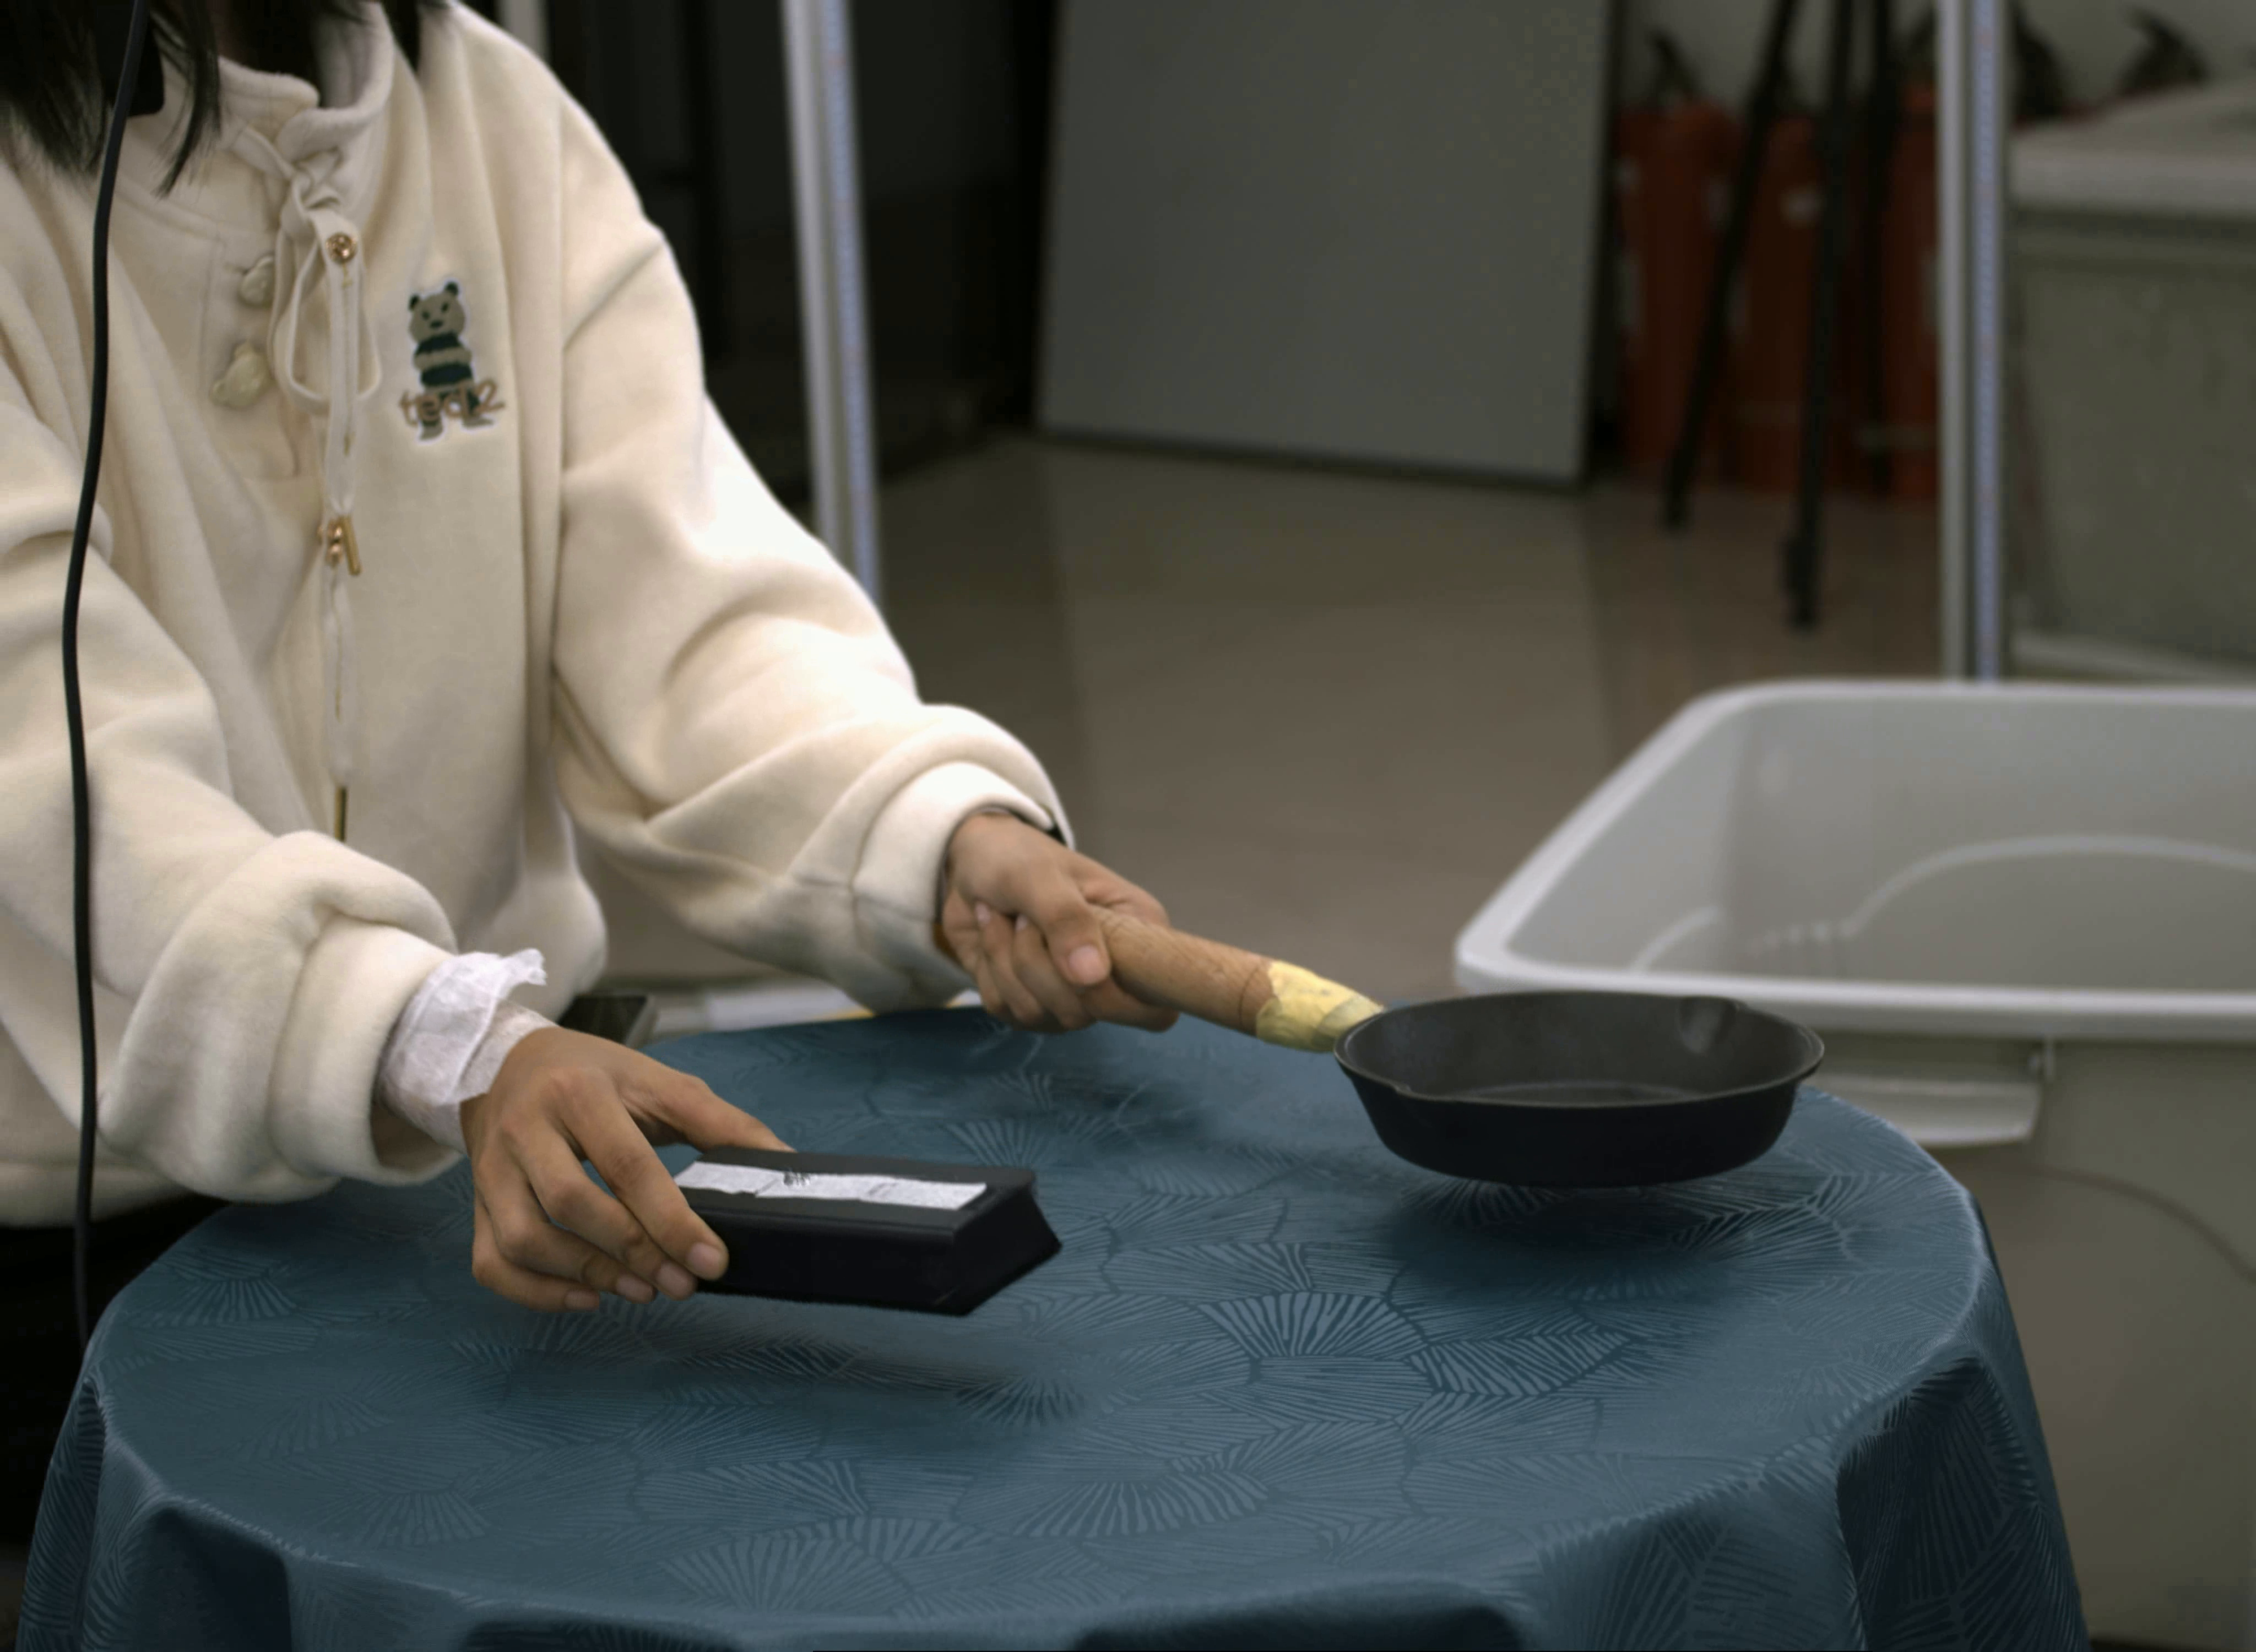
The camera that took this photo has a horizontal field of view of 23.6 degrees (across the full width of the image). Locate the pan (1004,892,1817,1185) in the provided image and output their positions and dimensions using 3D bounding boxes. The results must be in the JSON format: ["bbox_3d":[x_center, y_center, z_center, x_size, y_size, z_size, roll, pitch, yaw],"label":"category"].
[{"bbox_3d":[0.081,0.066,1.774,0.327,0.050,0.165,9,17,43],"label":"pan"}]

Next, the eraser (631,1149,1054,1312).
[{"bbox_3d":[-0.084,0.120,1.619,0.126,0.031,0.053,0,21,35],"label":"eraser"}]
